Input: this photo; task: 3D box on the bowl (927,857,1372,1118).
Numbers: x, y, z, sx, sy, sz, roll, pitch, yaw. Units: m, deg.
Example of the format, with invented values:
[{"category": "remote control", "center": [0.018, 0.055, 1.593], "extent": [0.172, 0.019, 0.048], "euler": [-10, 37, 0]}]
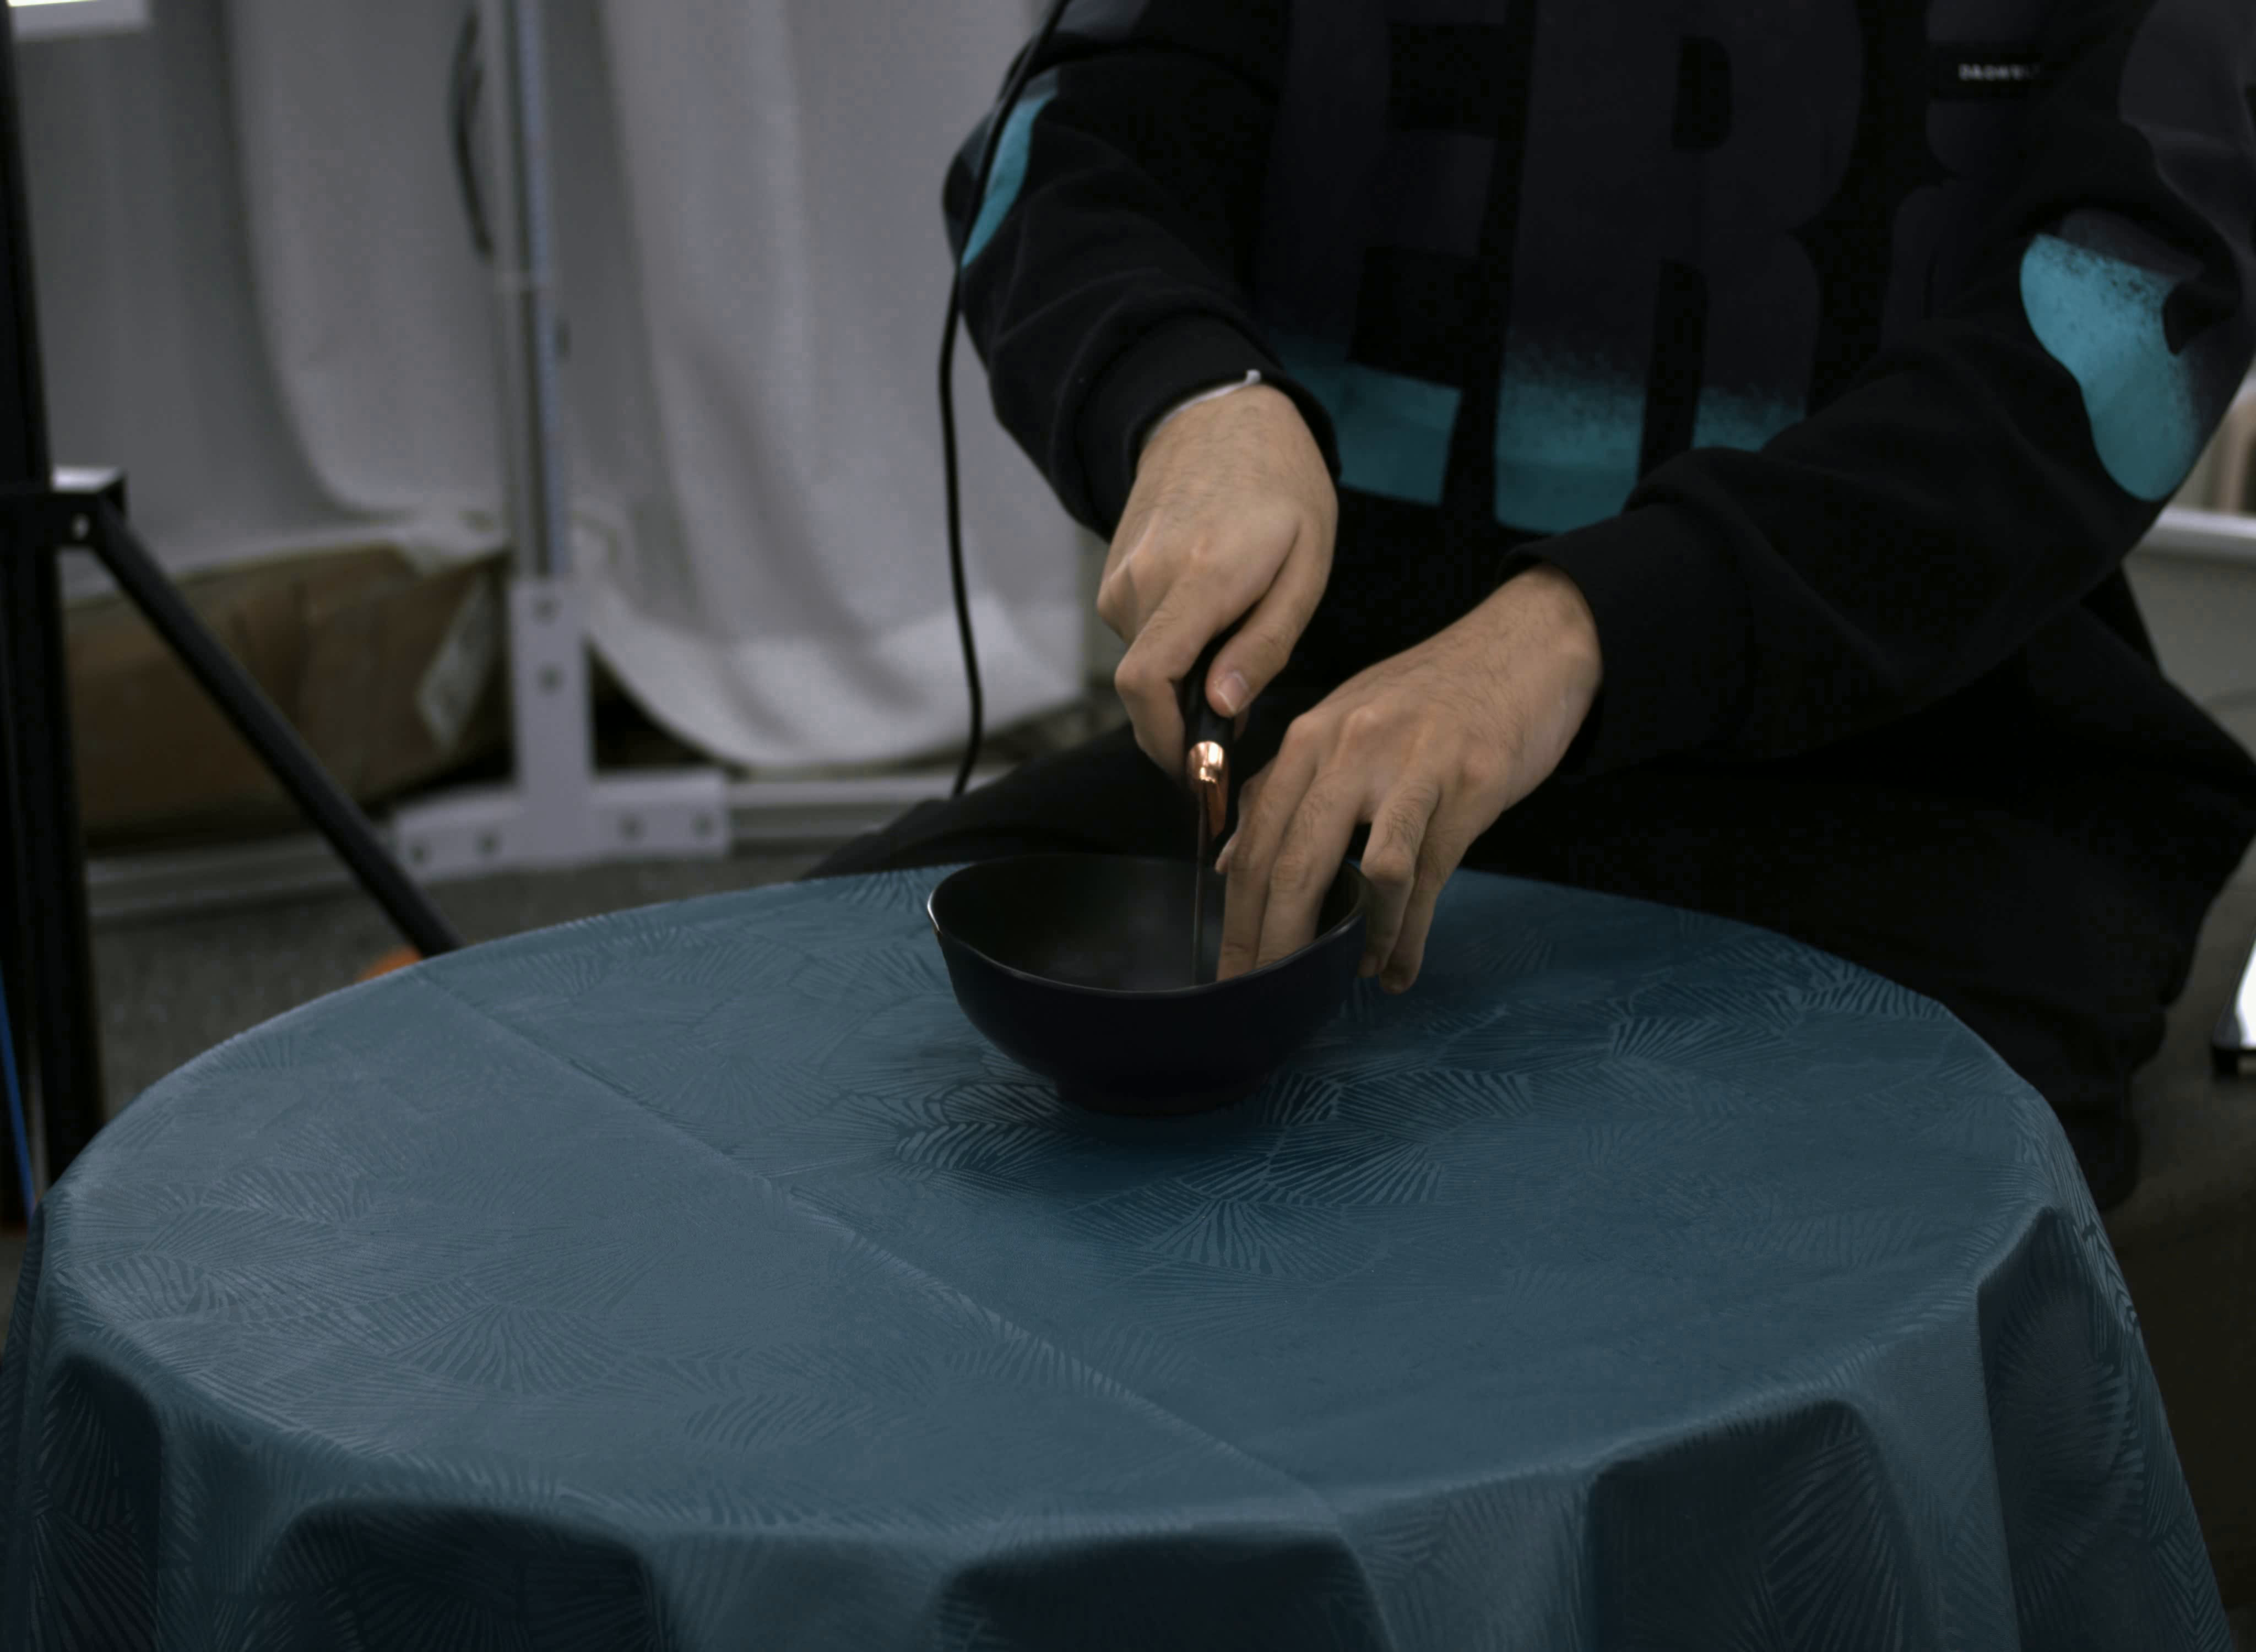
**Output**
[{"category": "bowl", "center": [0.008, 0.051, 1.641], "extent": [0.137, 0.067, 0.170], "euler": [-1, 14, 3]}]

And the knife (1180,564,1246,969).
[{"category": "knife", "center": [0.024, -0.006, 1.670], "extent": [0.017, 0.026, 0.227], "euler": [-2, 43, 8]}]
